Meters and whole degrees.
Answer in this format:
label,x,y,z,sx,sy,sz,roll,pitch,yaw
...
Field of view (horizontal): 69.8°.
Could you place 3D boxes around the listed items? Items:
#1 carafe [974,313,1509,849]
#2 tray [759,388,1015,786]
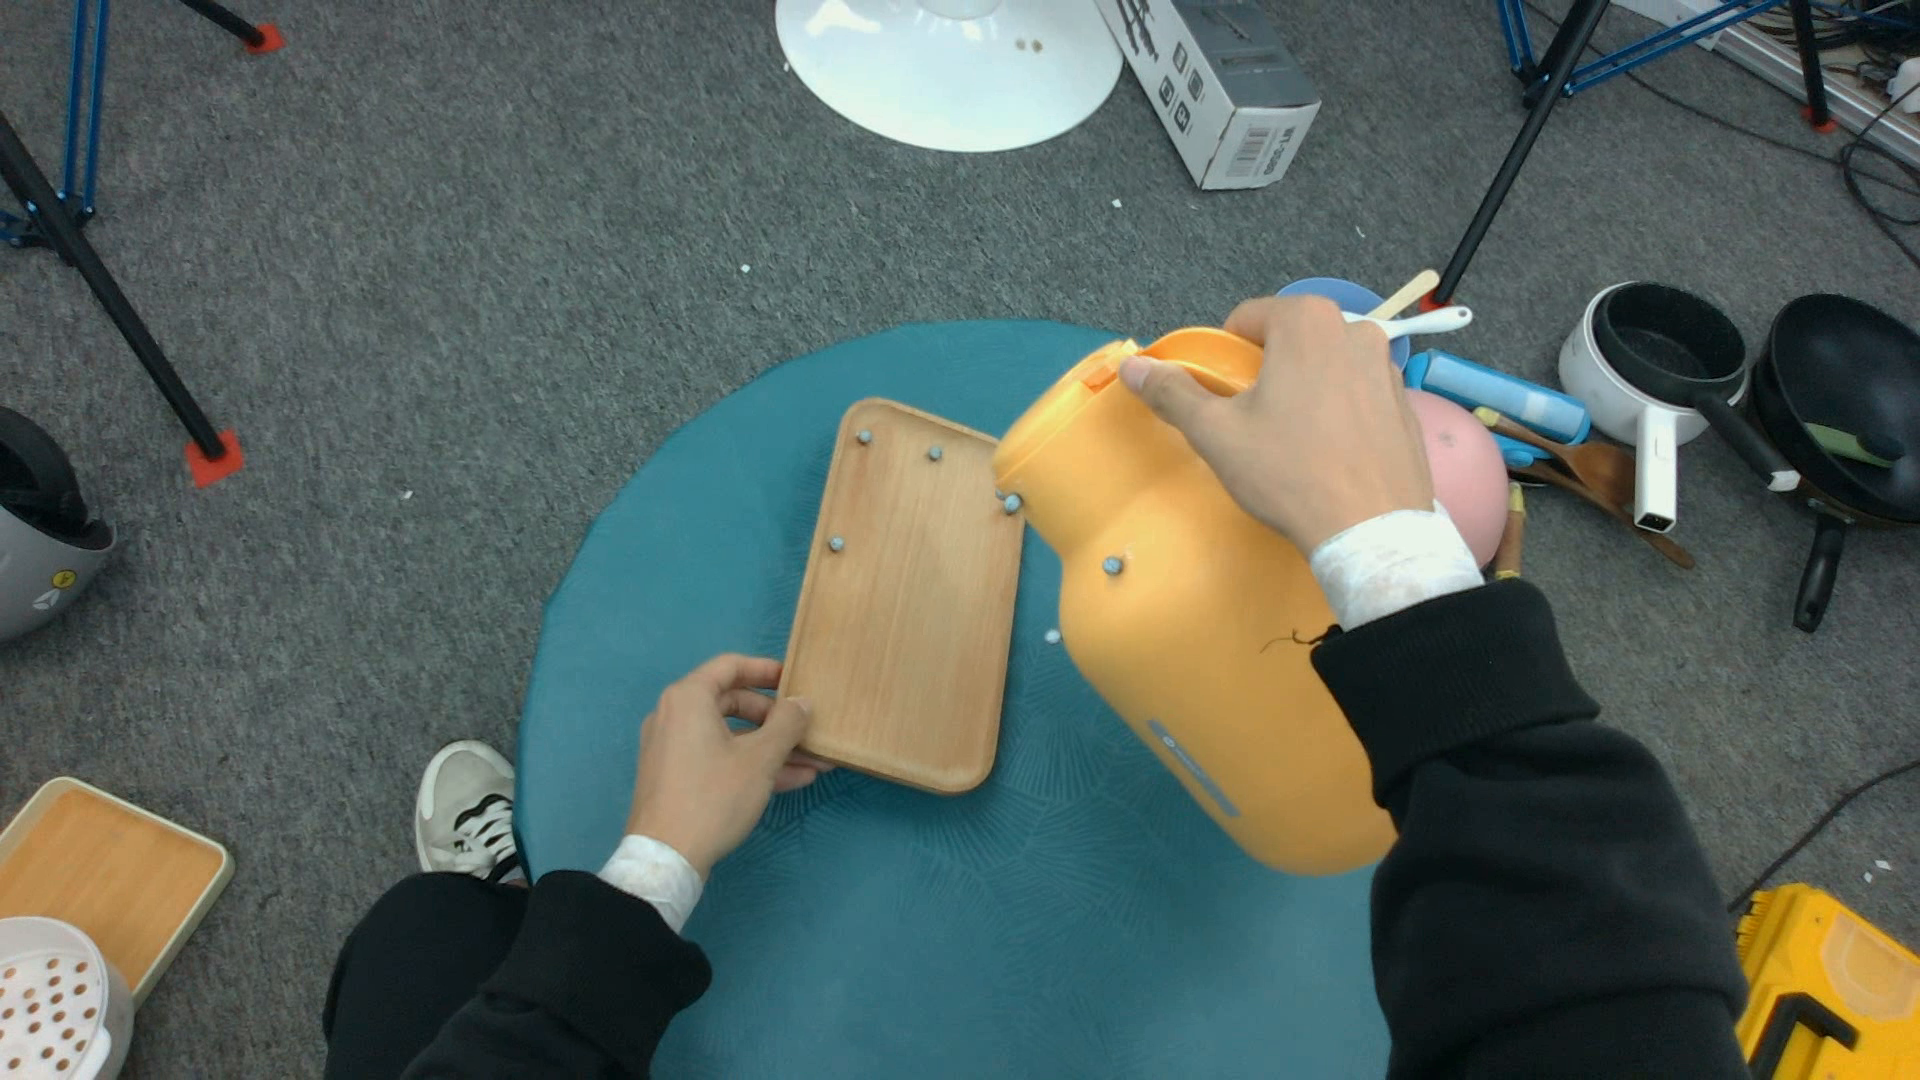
label,x,y,z,sx,sy,sz,roll,pitch,yaw
carafe,0.131,0.010,0.647,0.260,0.201,0.164,43,64,-4
tray,-0.036,0.021,0.806,0.130,0.023,0.252,18,54,-11
